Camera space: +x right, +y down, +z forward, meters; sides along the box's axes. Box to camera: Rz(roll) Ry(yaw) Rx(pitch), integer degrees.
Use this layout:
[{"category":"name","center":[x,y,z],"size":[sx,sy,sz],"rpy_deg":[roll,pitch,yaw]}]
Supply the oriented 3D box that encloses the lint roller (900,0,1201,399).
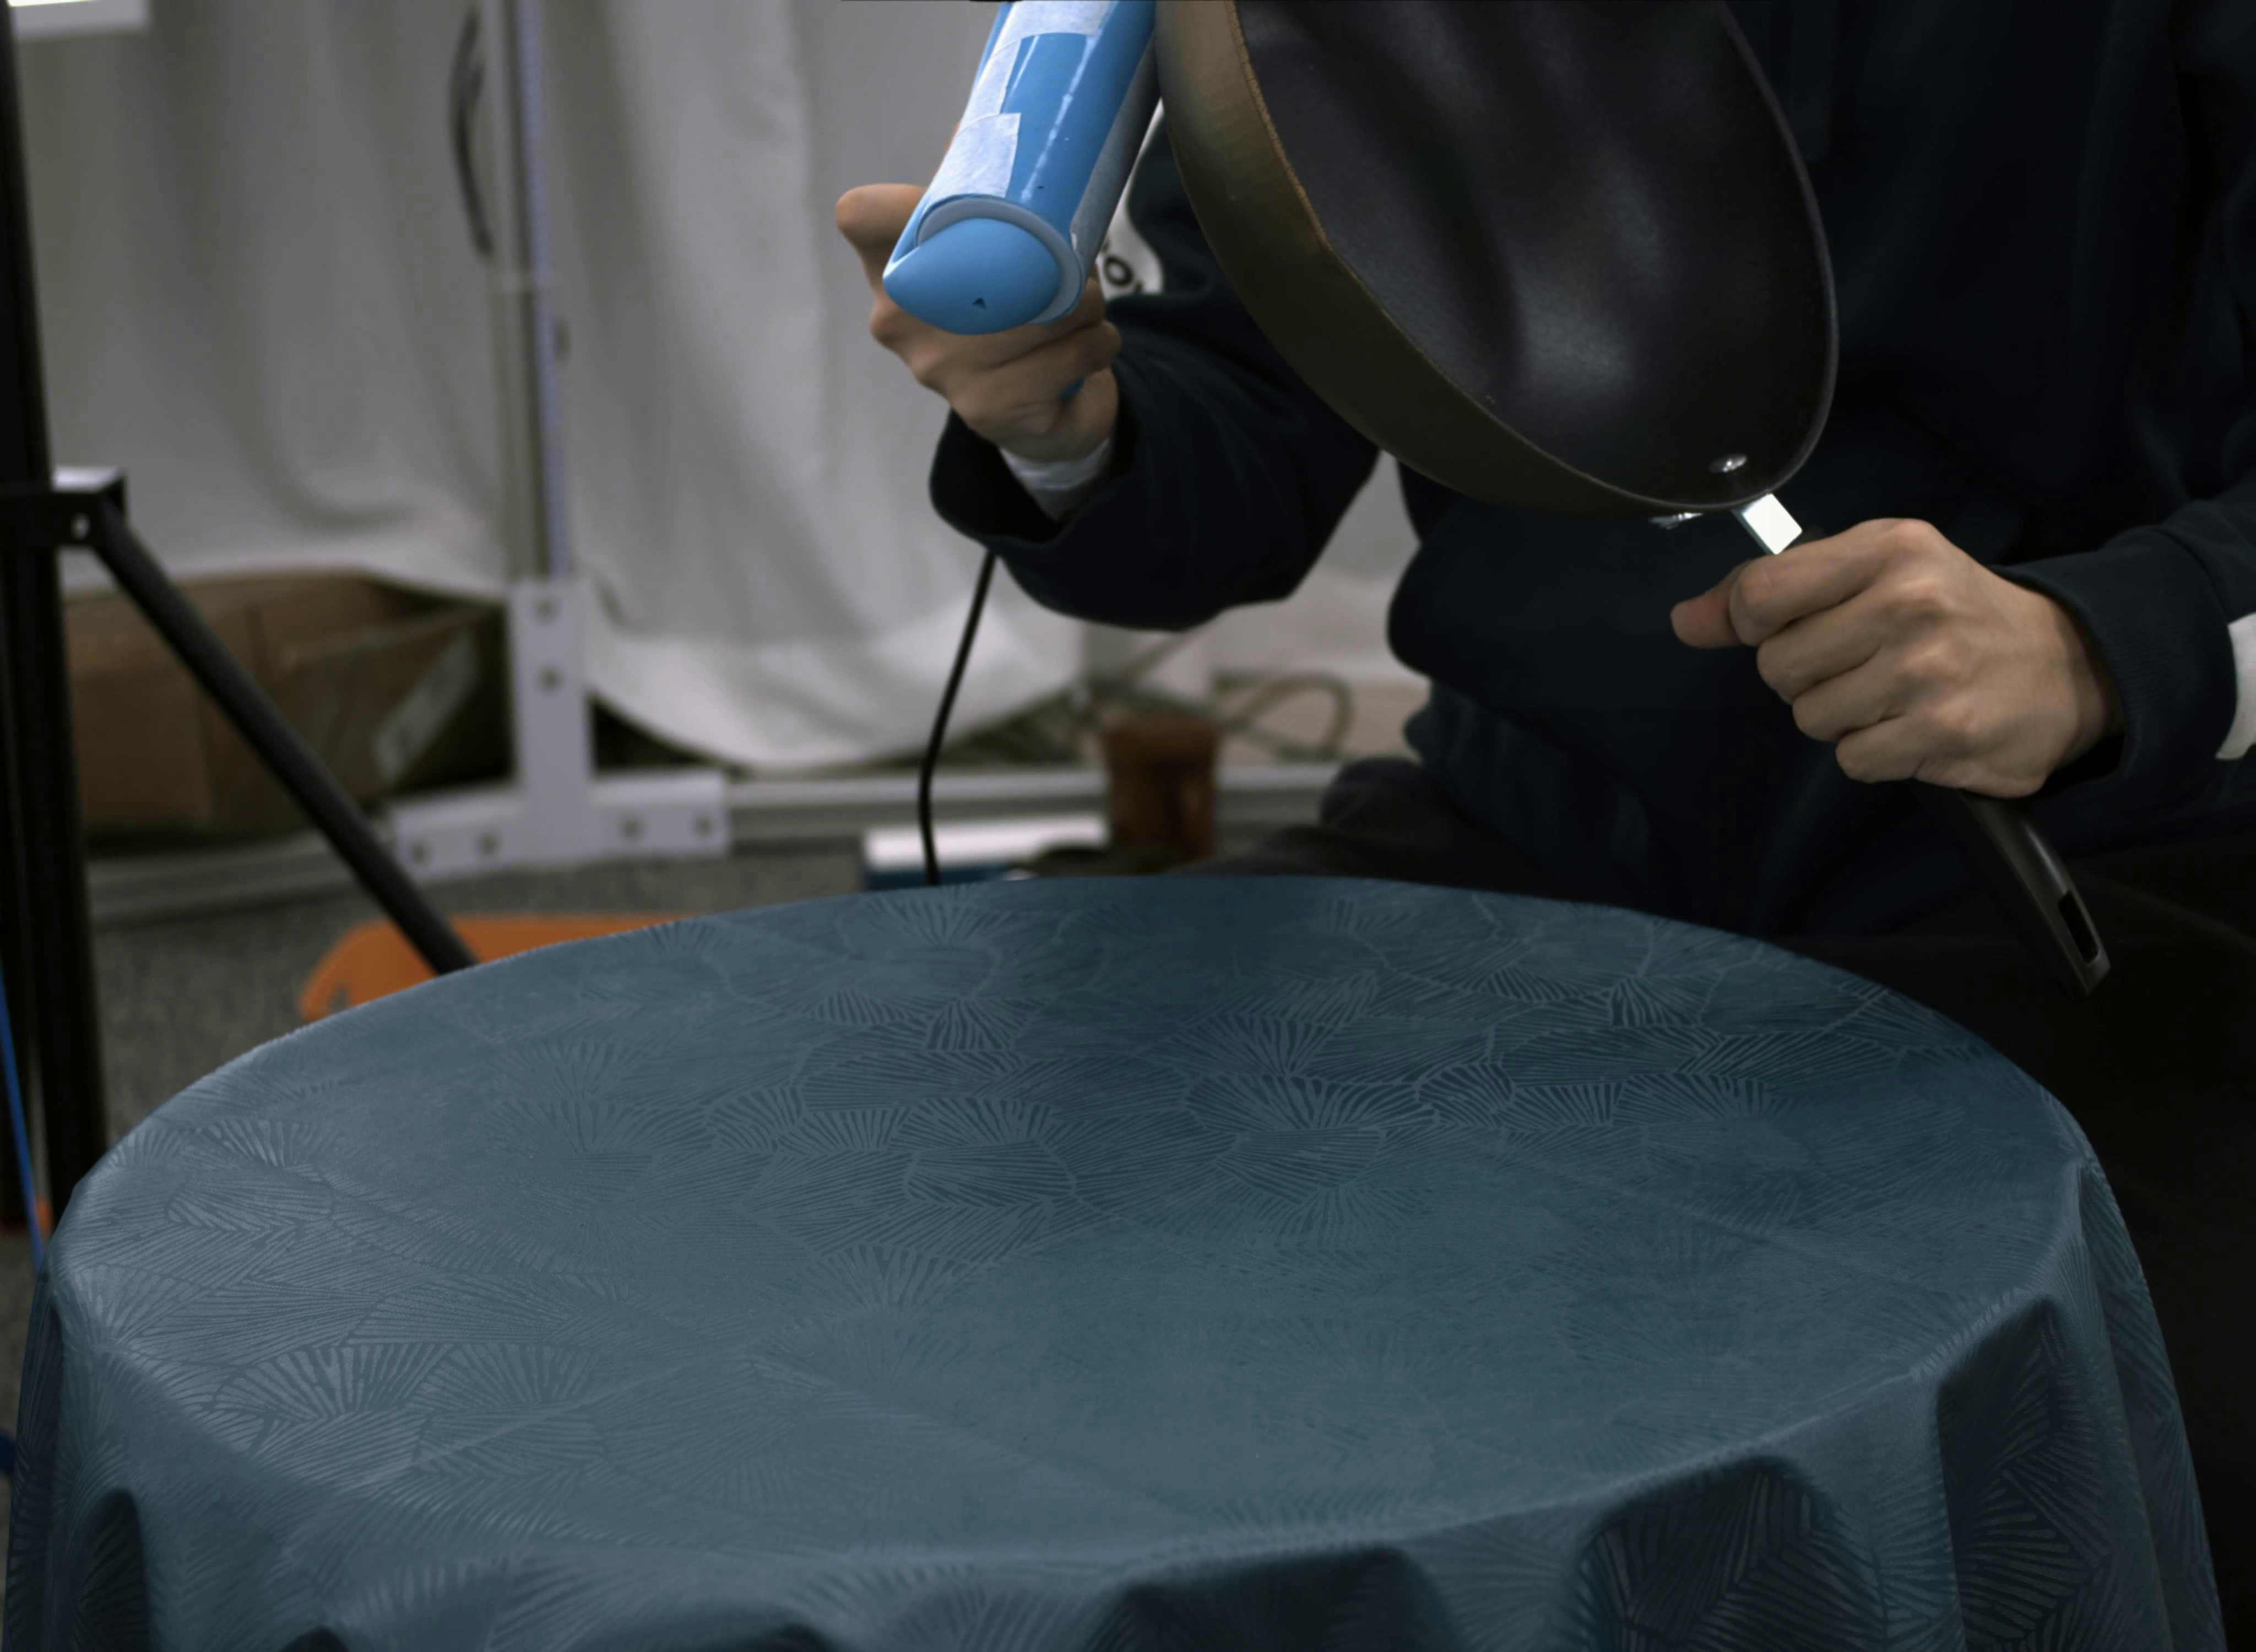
[{"category":"lint roller","center":[-0.026,-0.206,1.694],"size":[0.067,0.181,0.229],"rpy_deg":[19,49,-3]}]

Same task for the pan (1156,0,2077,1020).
[{"category":"pan","center":[0.149,-0.130,1.654],"size":[0.088,0.464,0.284],"rpy_deg":[-30,3,38]}]
